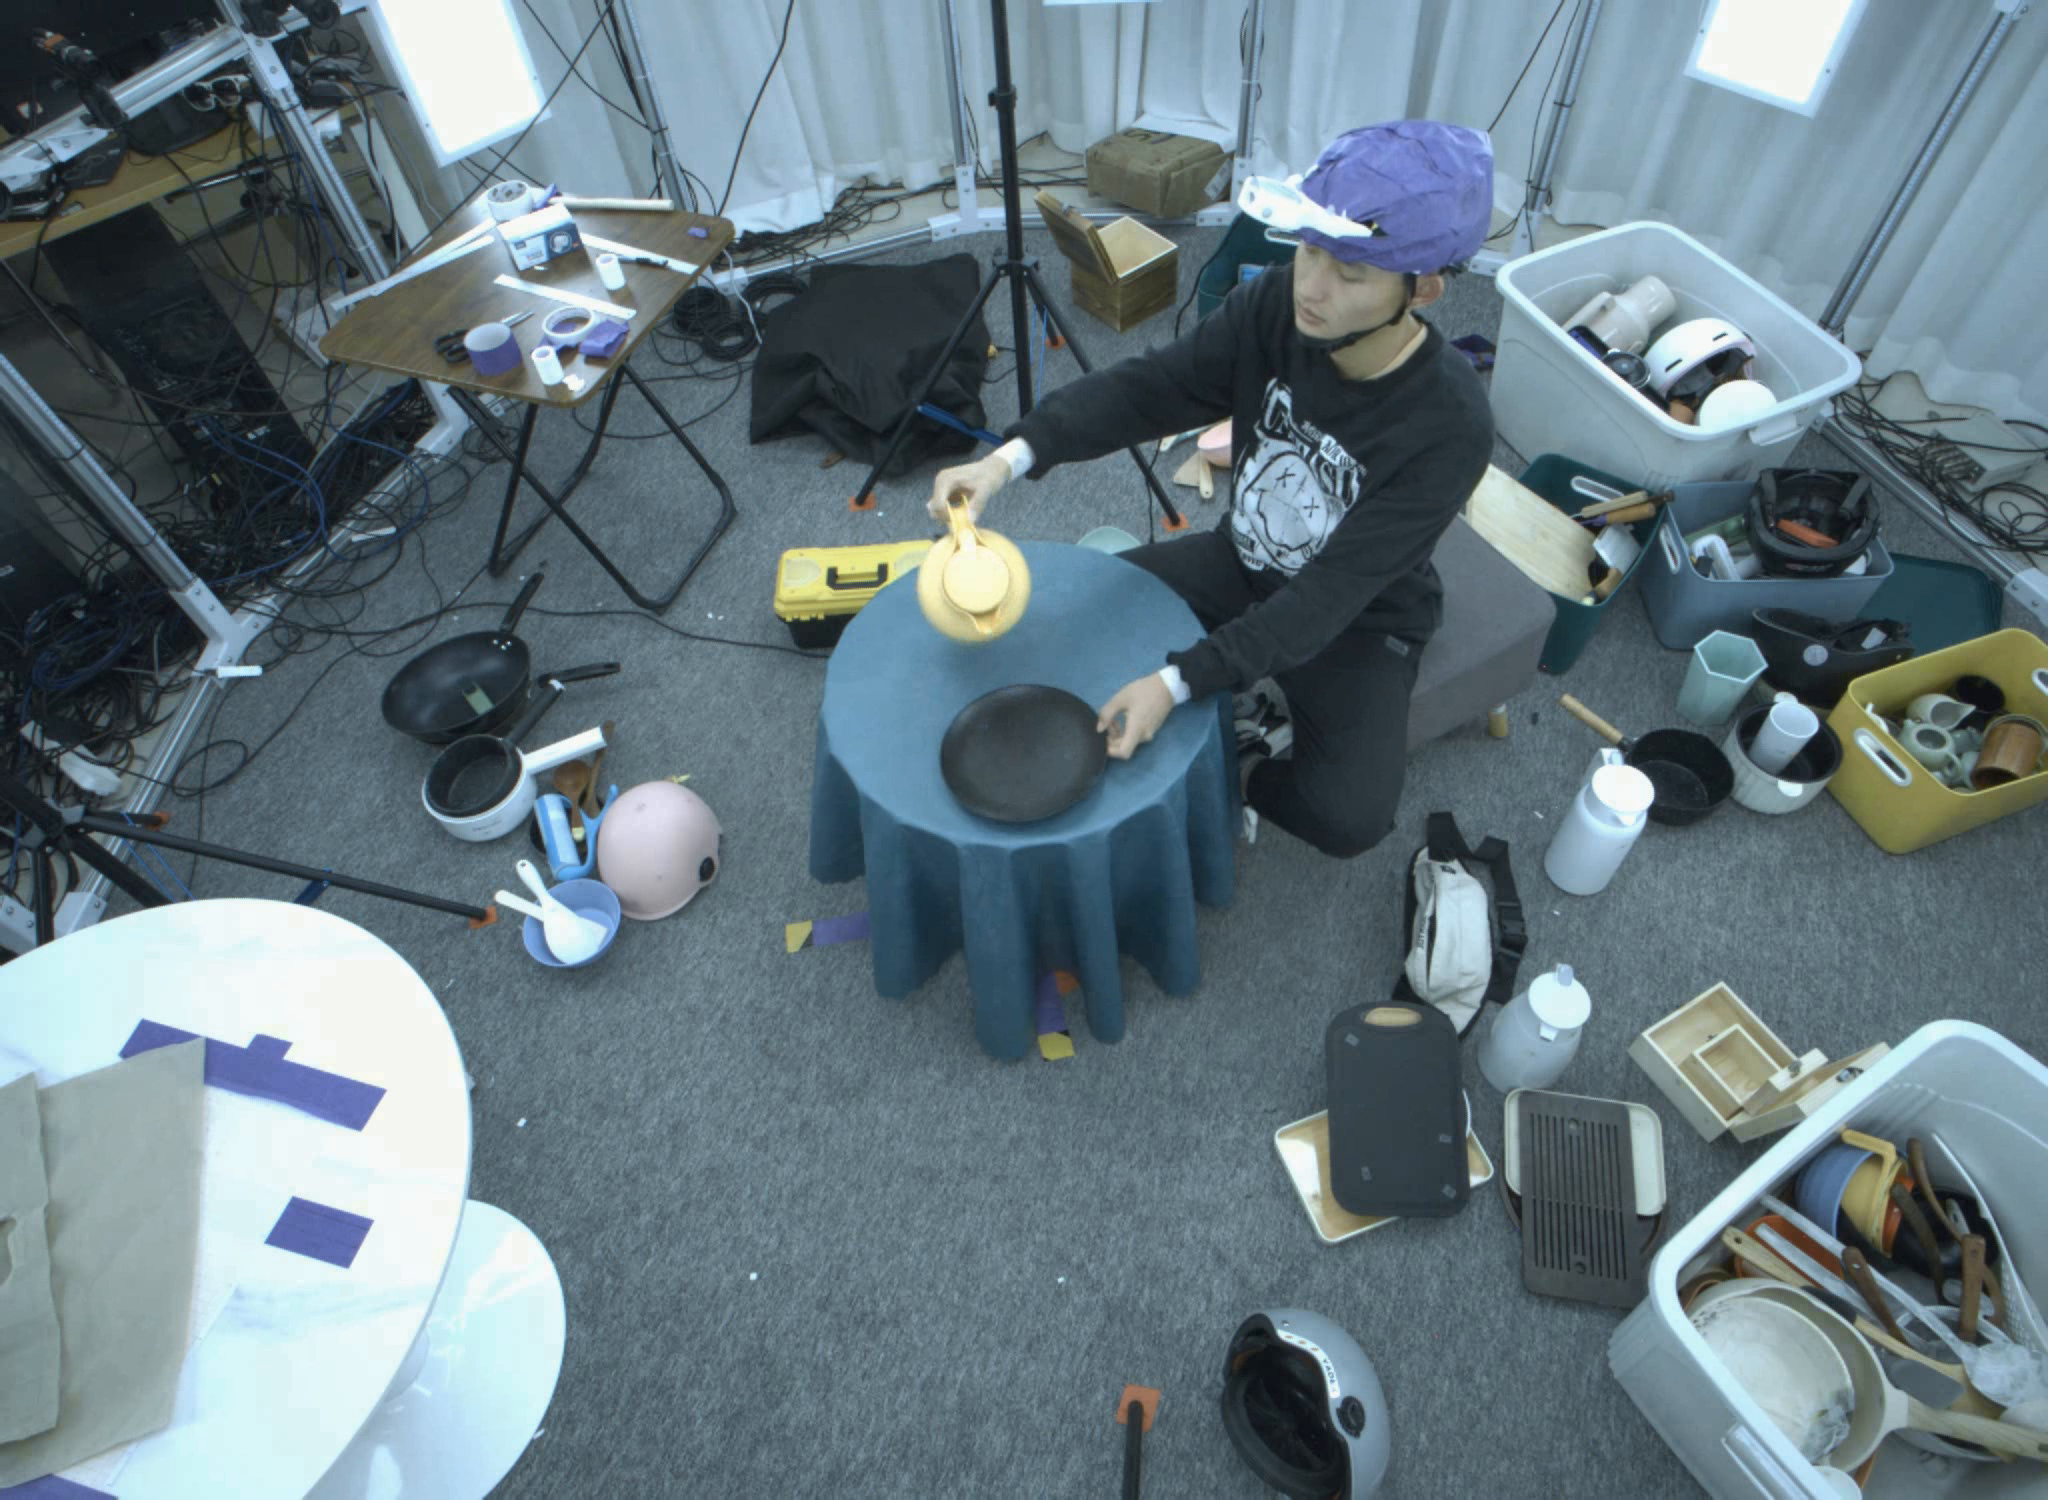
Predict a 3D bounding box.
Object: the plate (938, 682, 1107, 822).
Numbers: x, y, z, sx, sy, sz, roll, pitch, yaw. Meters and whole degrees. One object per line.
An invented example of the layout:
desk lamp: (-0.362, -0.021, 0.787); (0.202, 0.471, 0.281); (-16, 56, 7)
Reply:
plate: (-0.002, 0.004, 1.759); (0.244, 0.024, 0.242); (-2, 55, 5)

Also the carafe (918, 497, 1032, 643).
carafe: (-0.072, -0.252, 1.731); (0.164, 0.258, 0.203); (-12, 97, -4)
